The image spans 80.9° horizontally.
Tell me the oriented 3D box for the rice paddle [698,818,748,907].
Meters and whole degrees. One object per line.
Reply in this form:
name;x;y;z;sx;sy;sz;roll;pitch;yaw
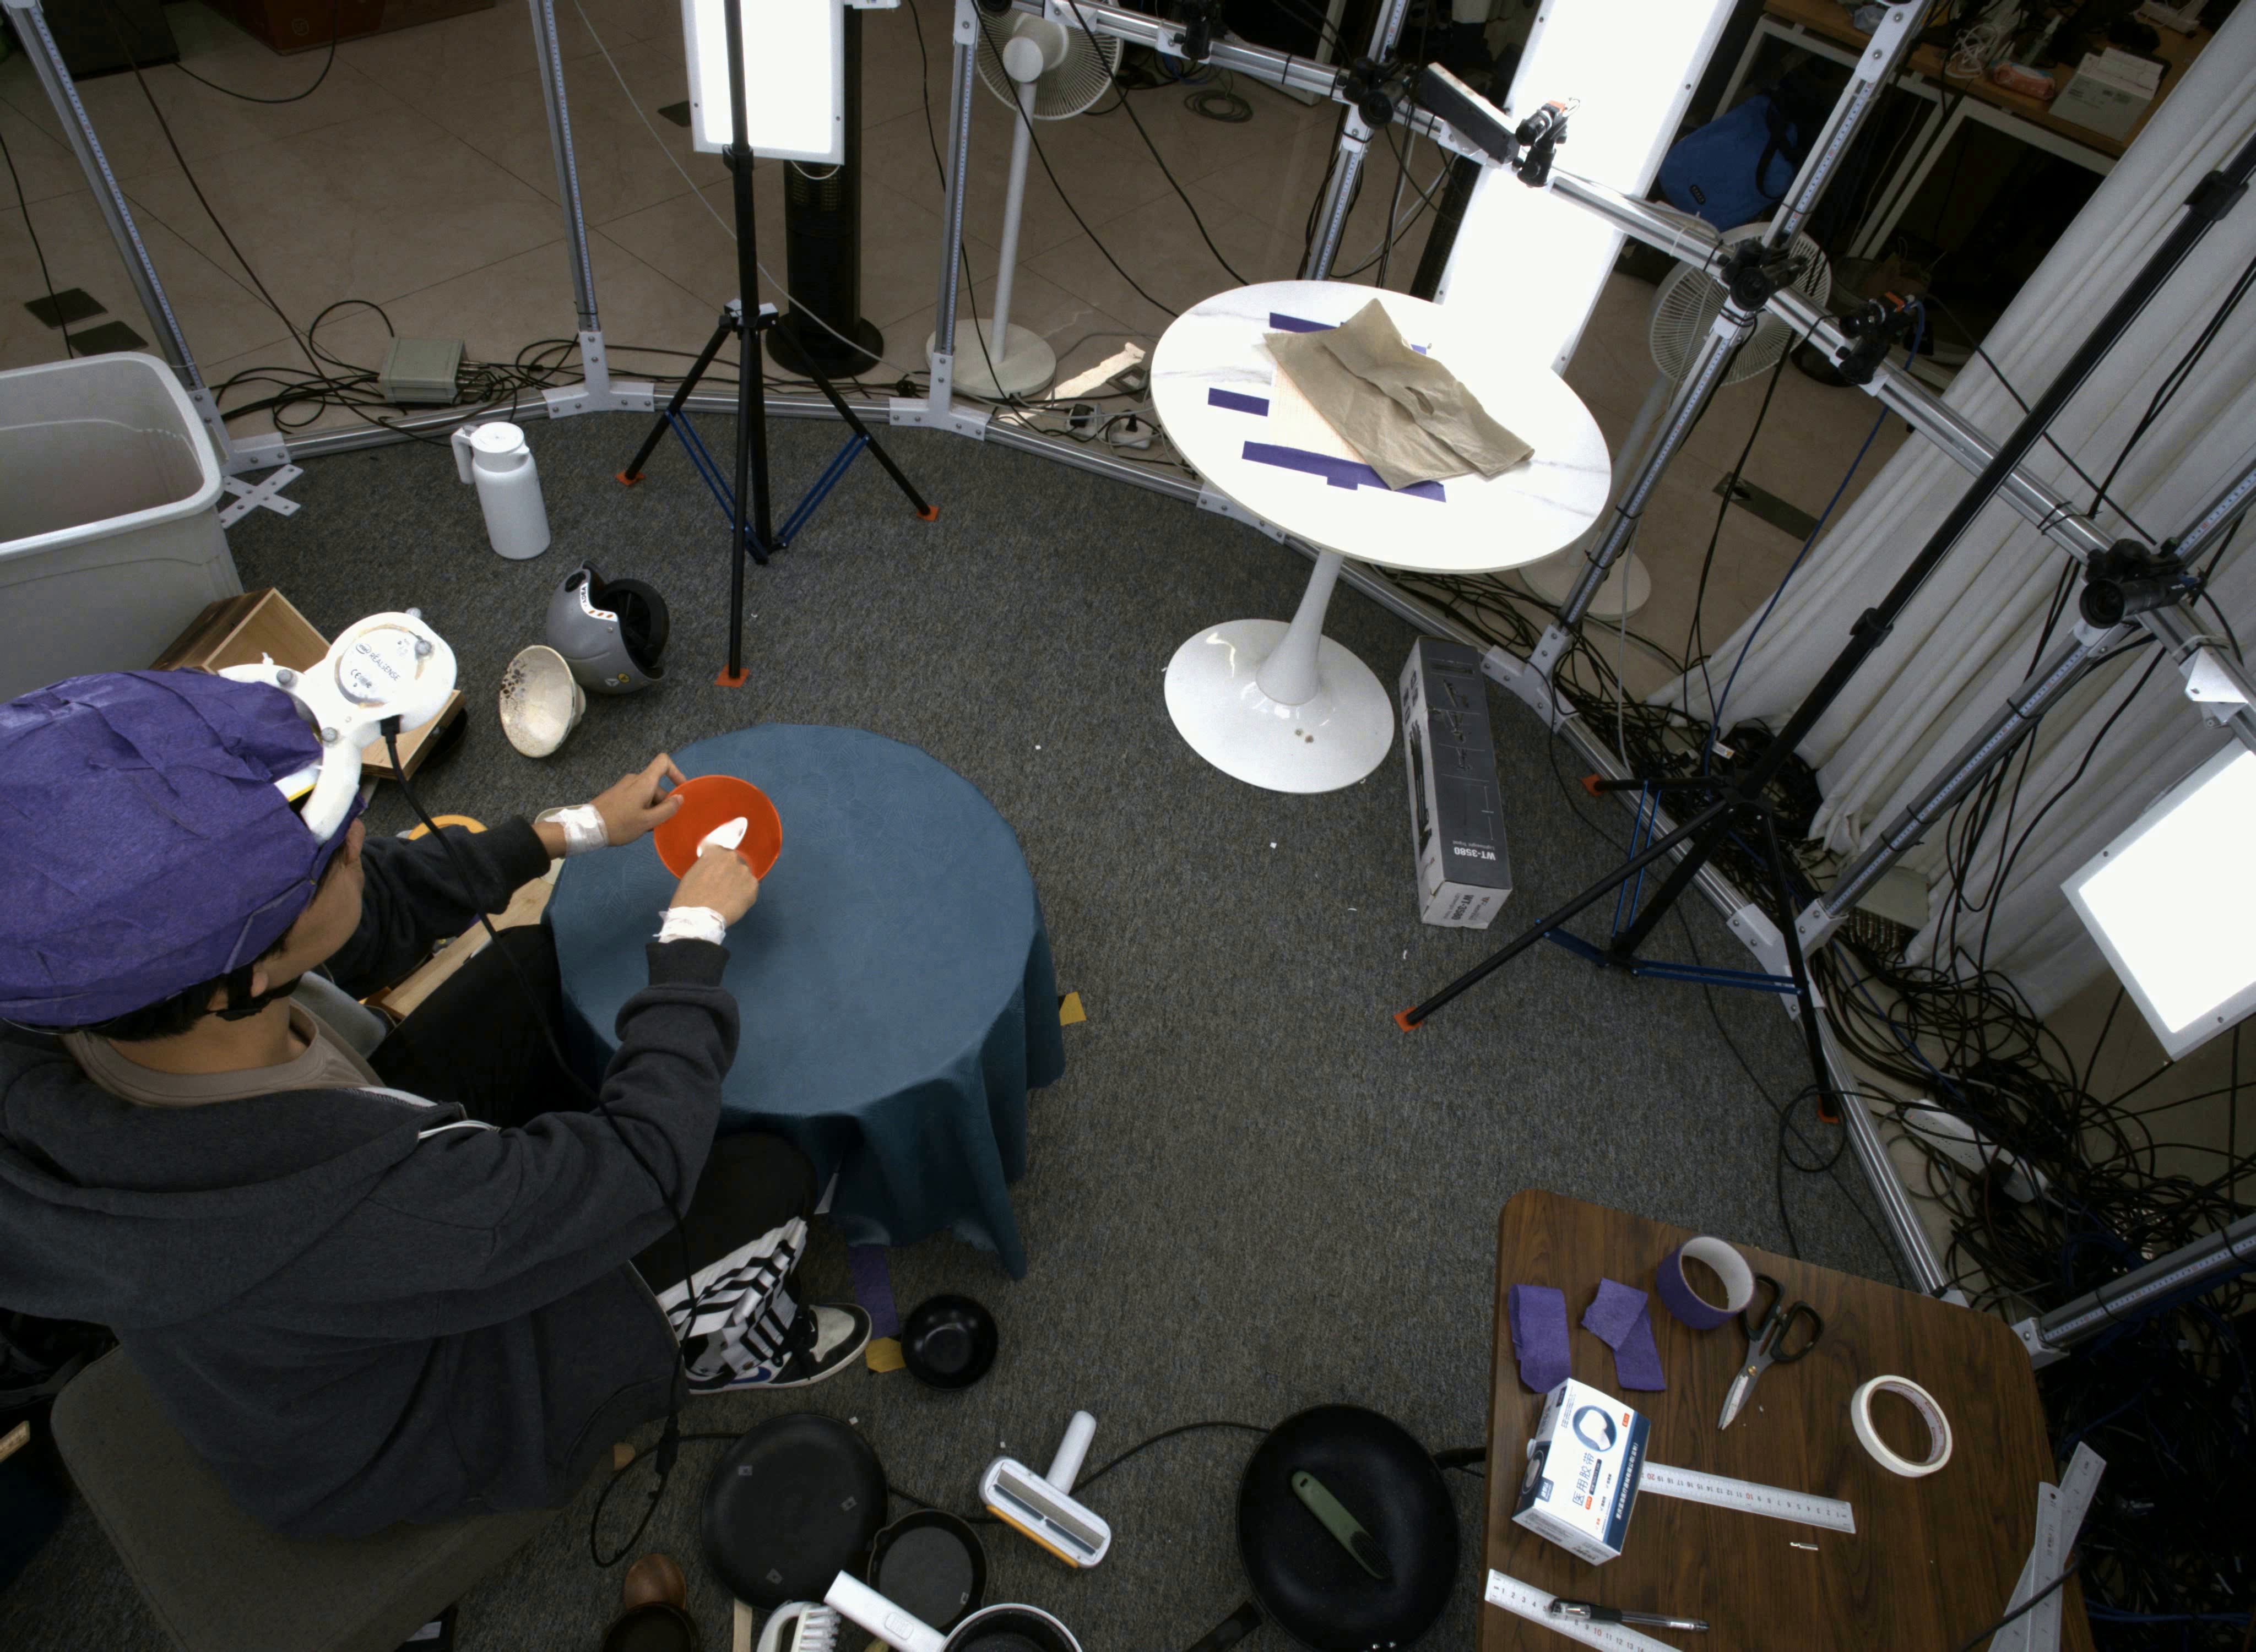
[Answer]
rice paddle;-0.458;0.033;1.461;0.068;0.030;0.199;-30;28;-4

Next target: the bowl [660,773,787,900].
bowl;-0.487;0.024;1.564;0.148;0.106;0.146;8;60;-13
